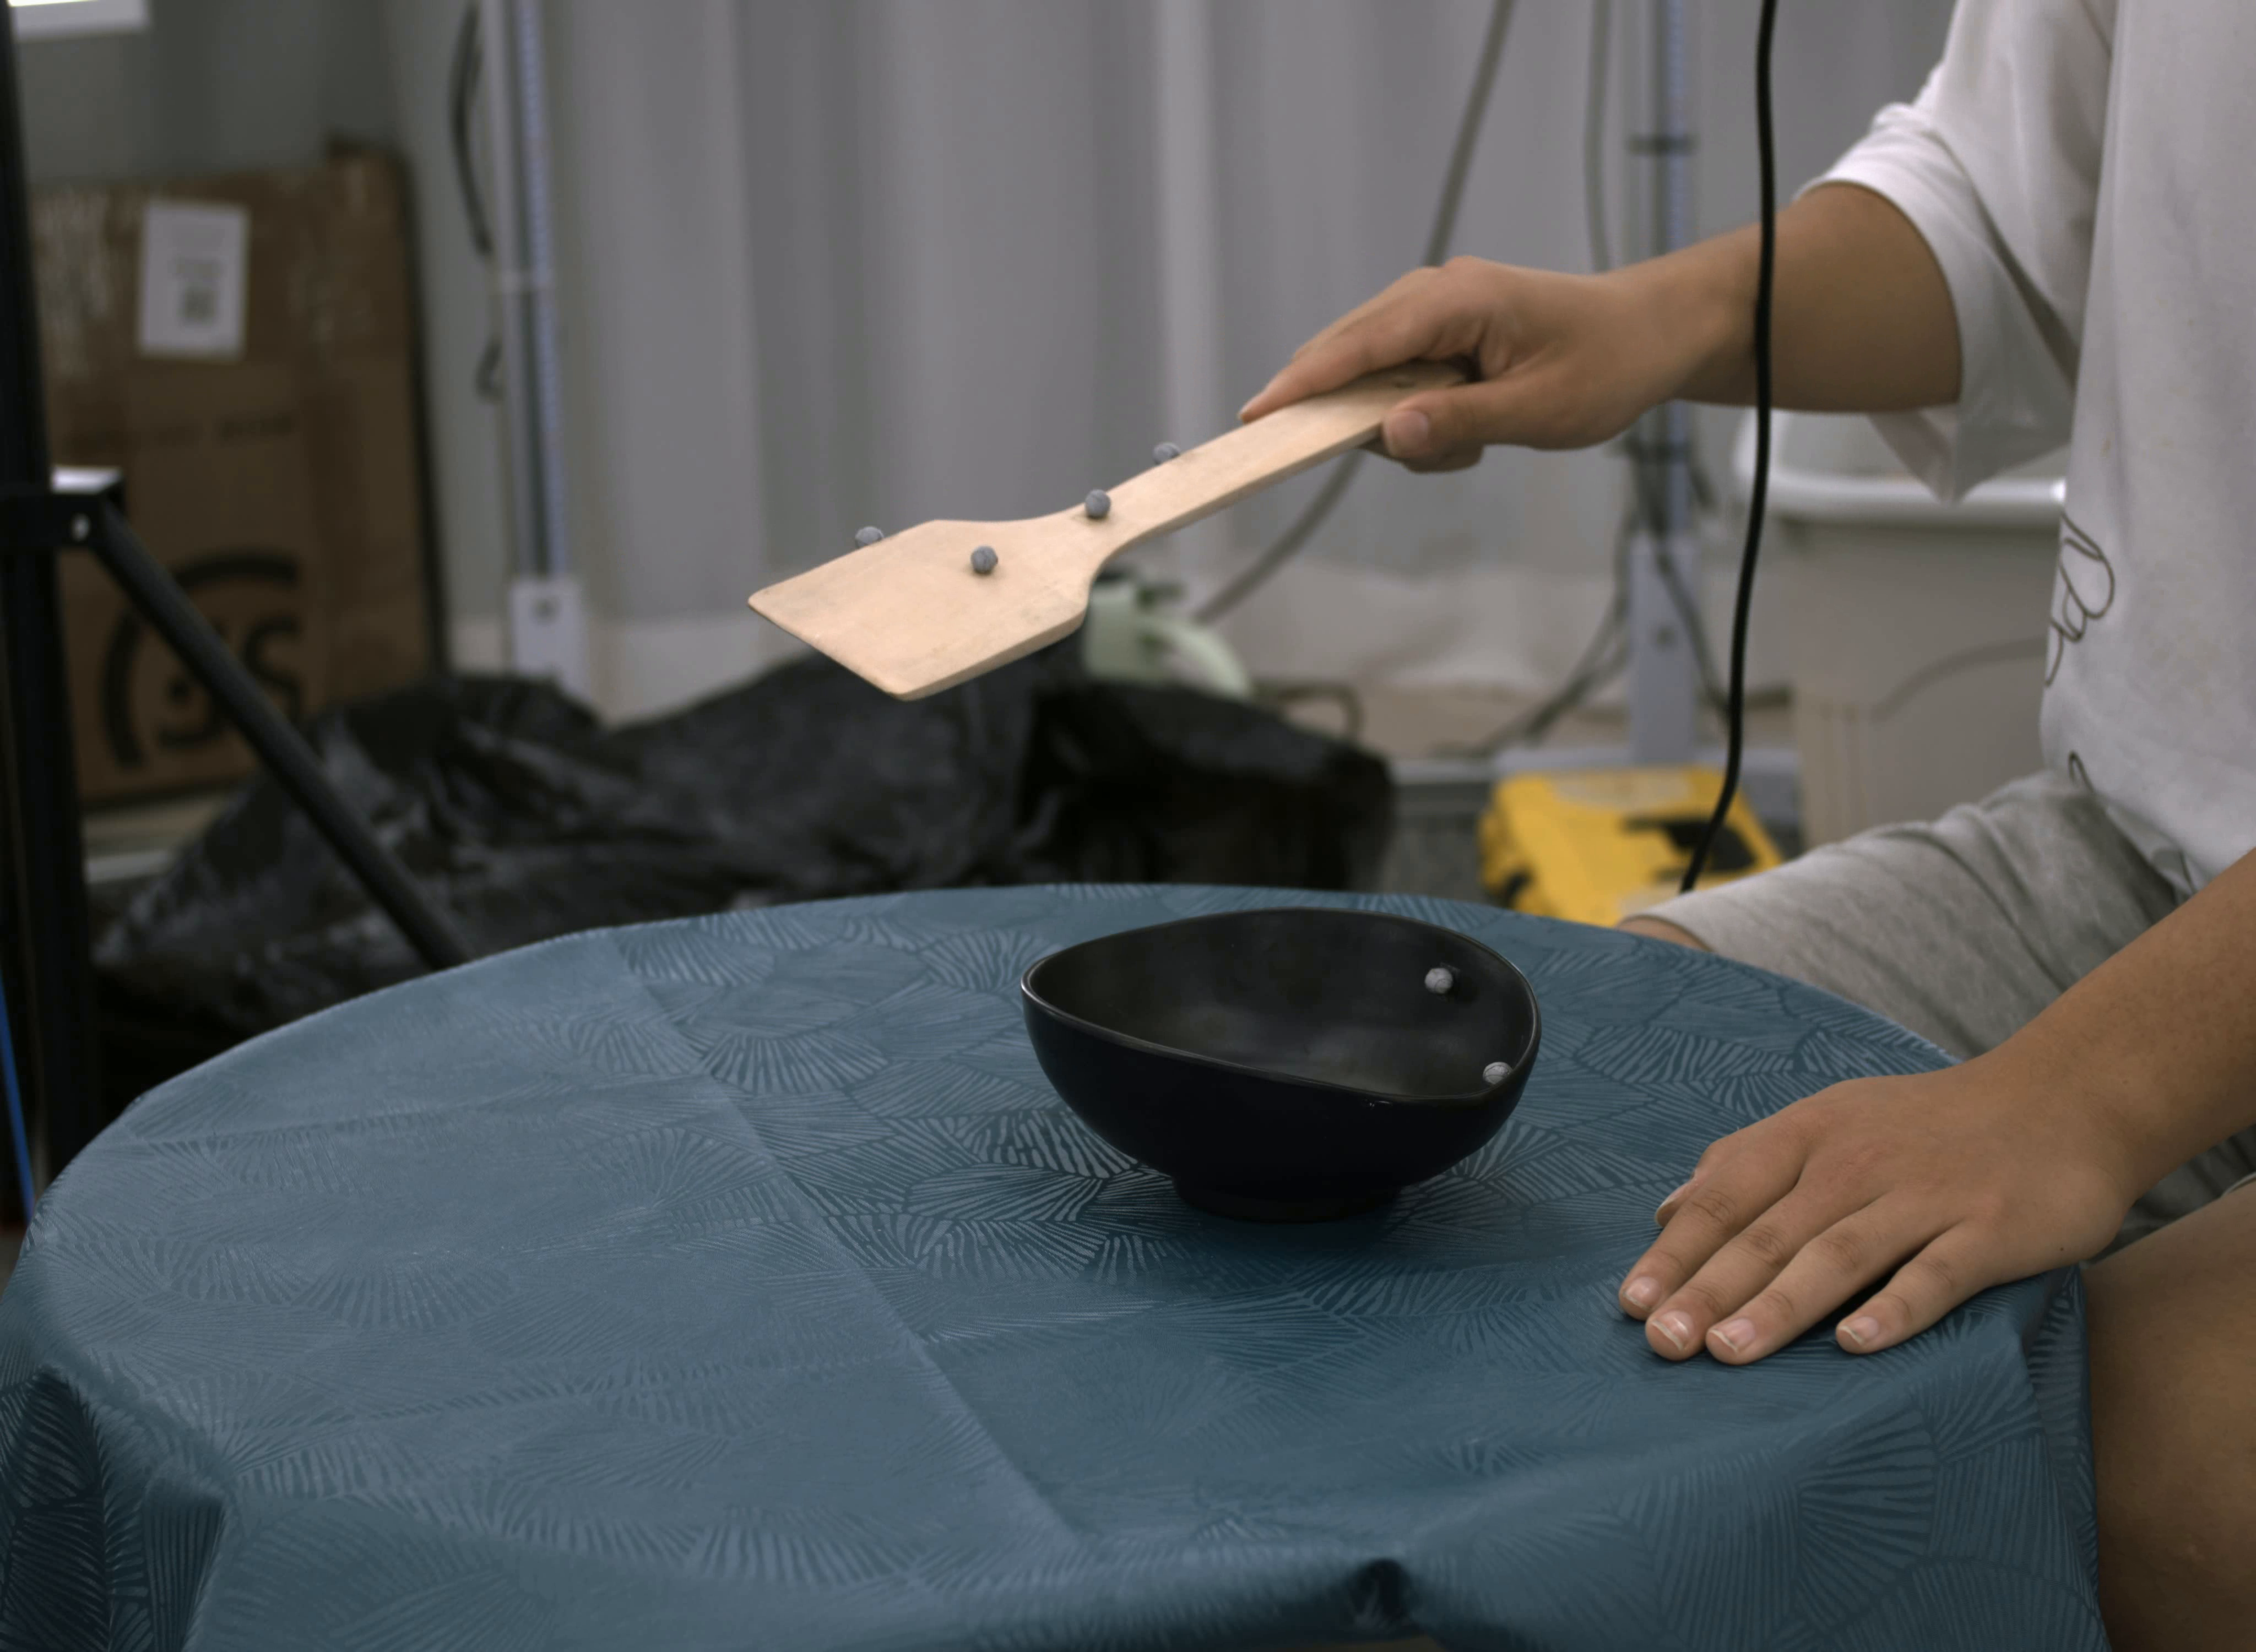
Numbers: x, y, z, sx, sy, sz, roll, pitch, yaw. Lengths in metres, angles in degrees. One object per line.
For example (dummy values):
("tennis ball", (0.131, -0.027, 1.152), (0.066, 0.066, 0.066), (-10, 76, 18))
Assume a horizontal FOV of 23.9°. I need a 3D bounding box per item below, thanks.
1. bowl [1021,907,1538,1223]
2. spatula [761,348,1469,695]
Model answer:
("bowl", (0.045, 0.074, 1.555), (0.134, 0.066, 0.174), (-16, 23, -41))
("spatula", (0.008, -0.103, 1.693), (0.074, 0.010, 0.287), (30, 41, 34))
